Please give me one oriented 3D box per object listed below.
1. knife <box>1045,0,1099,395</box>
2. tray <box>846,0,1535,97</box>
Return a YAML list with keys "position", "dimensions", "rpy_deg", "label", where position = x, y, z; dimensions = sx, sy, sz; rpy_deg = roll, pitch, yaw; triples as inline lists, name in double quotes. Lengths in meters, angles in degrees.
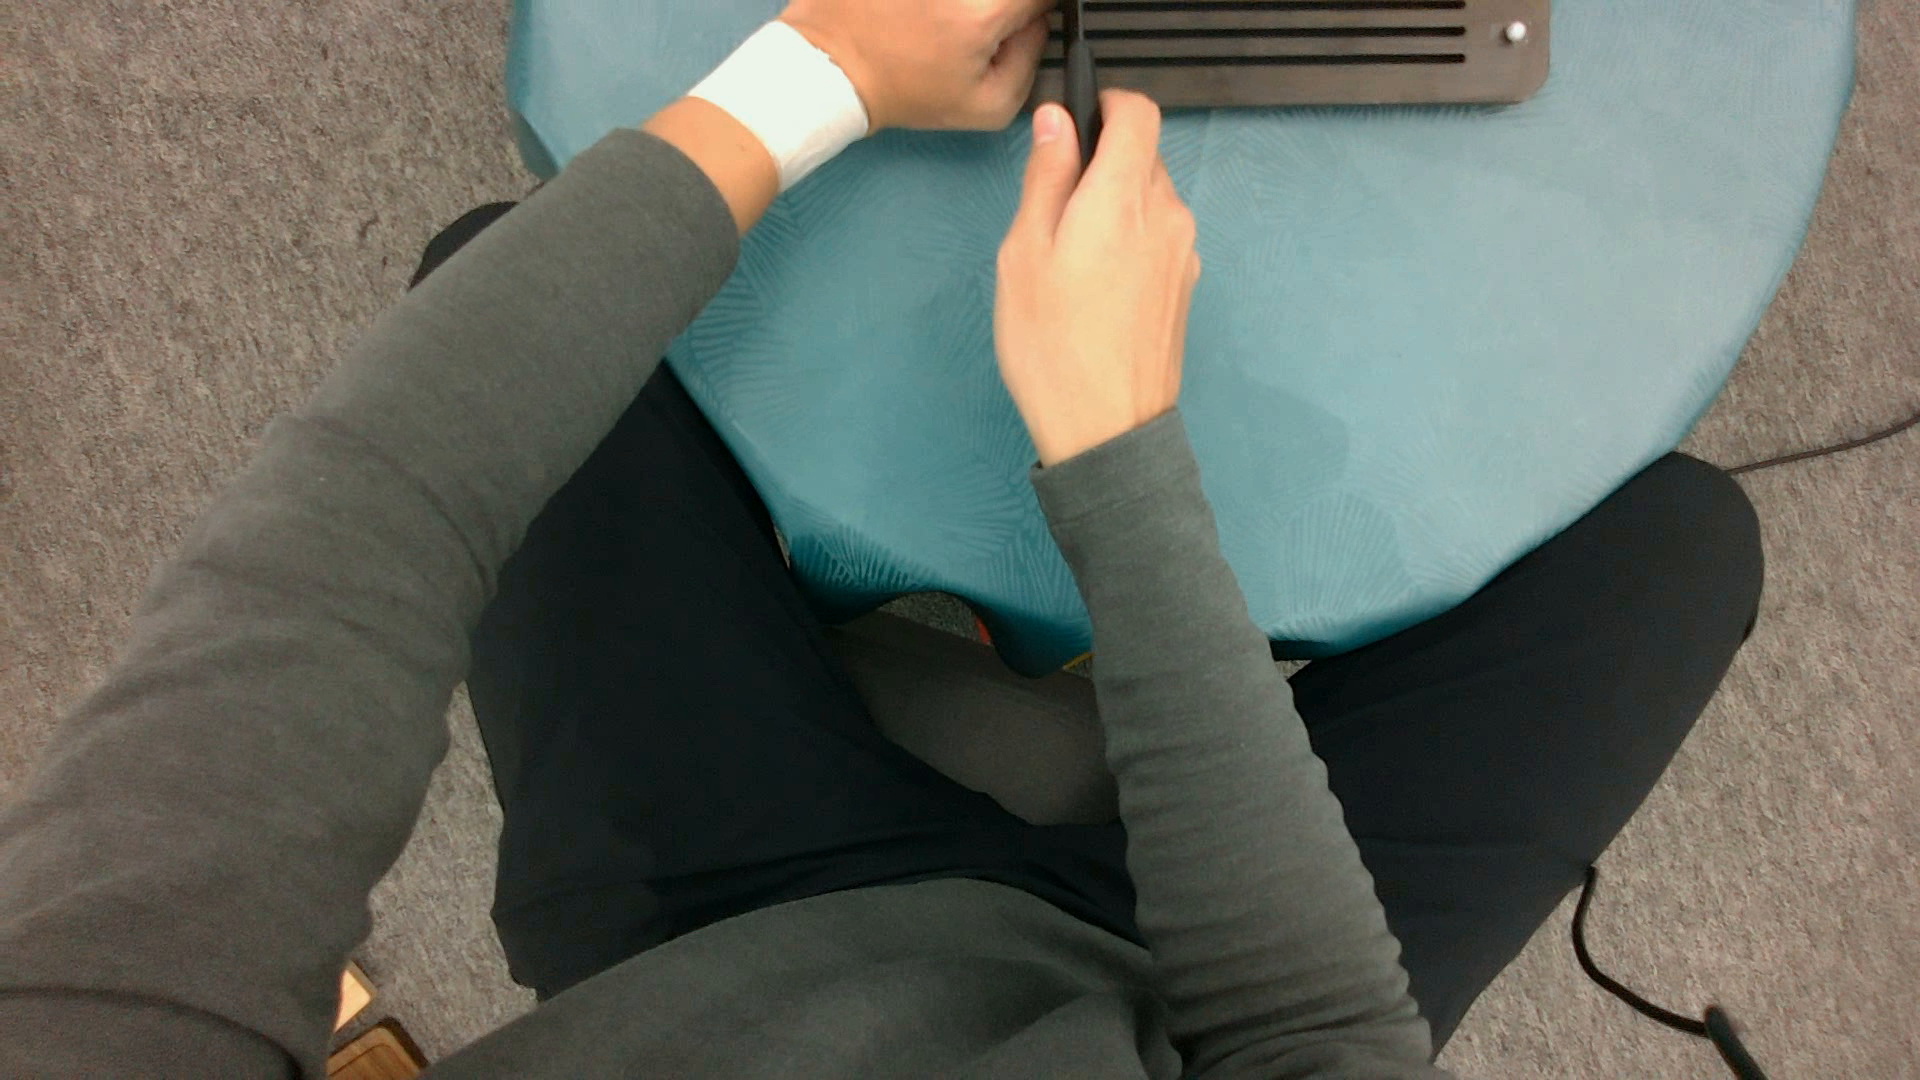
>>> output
- position: [0.041, -0.209, 0.545]
  dimensions: [0.021, 0.081, 0.302]
  rpy_deg: [-1, 89, -1]
  label: "knife"
- position: [0.102, -0.281, 0.607]
  dimensions: [0.306, 0.018, 0.170]
  rpy_deg: [-1, 94, -3]
  label: "tray"
